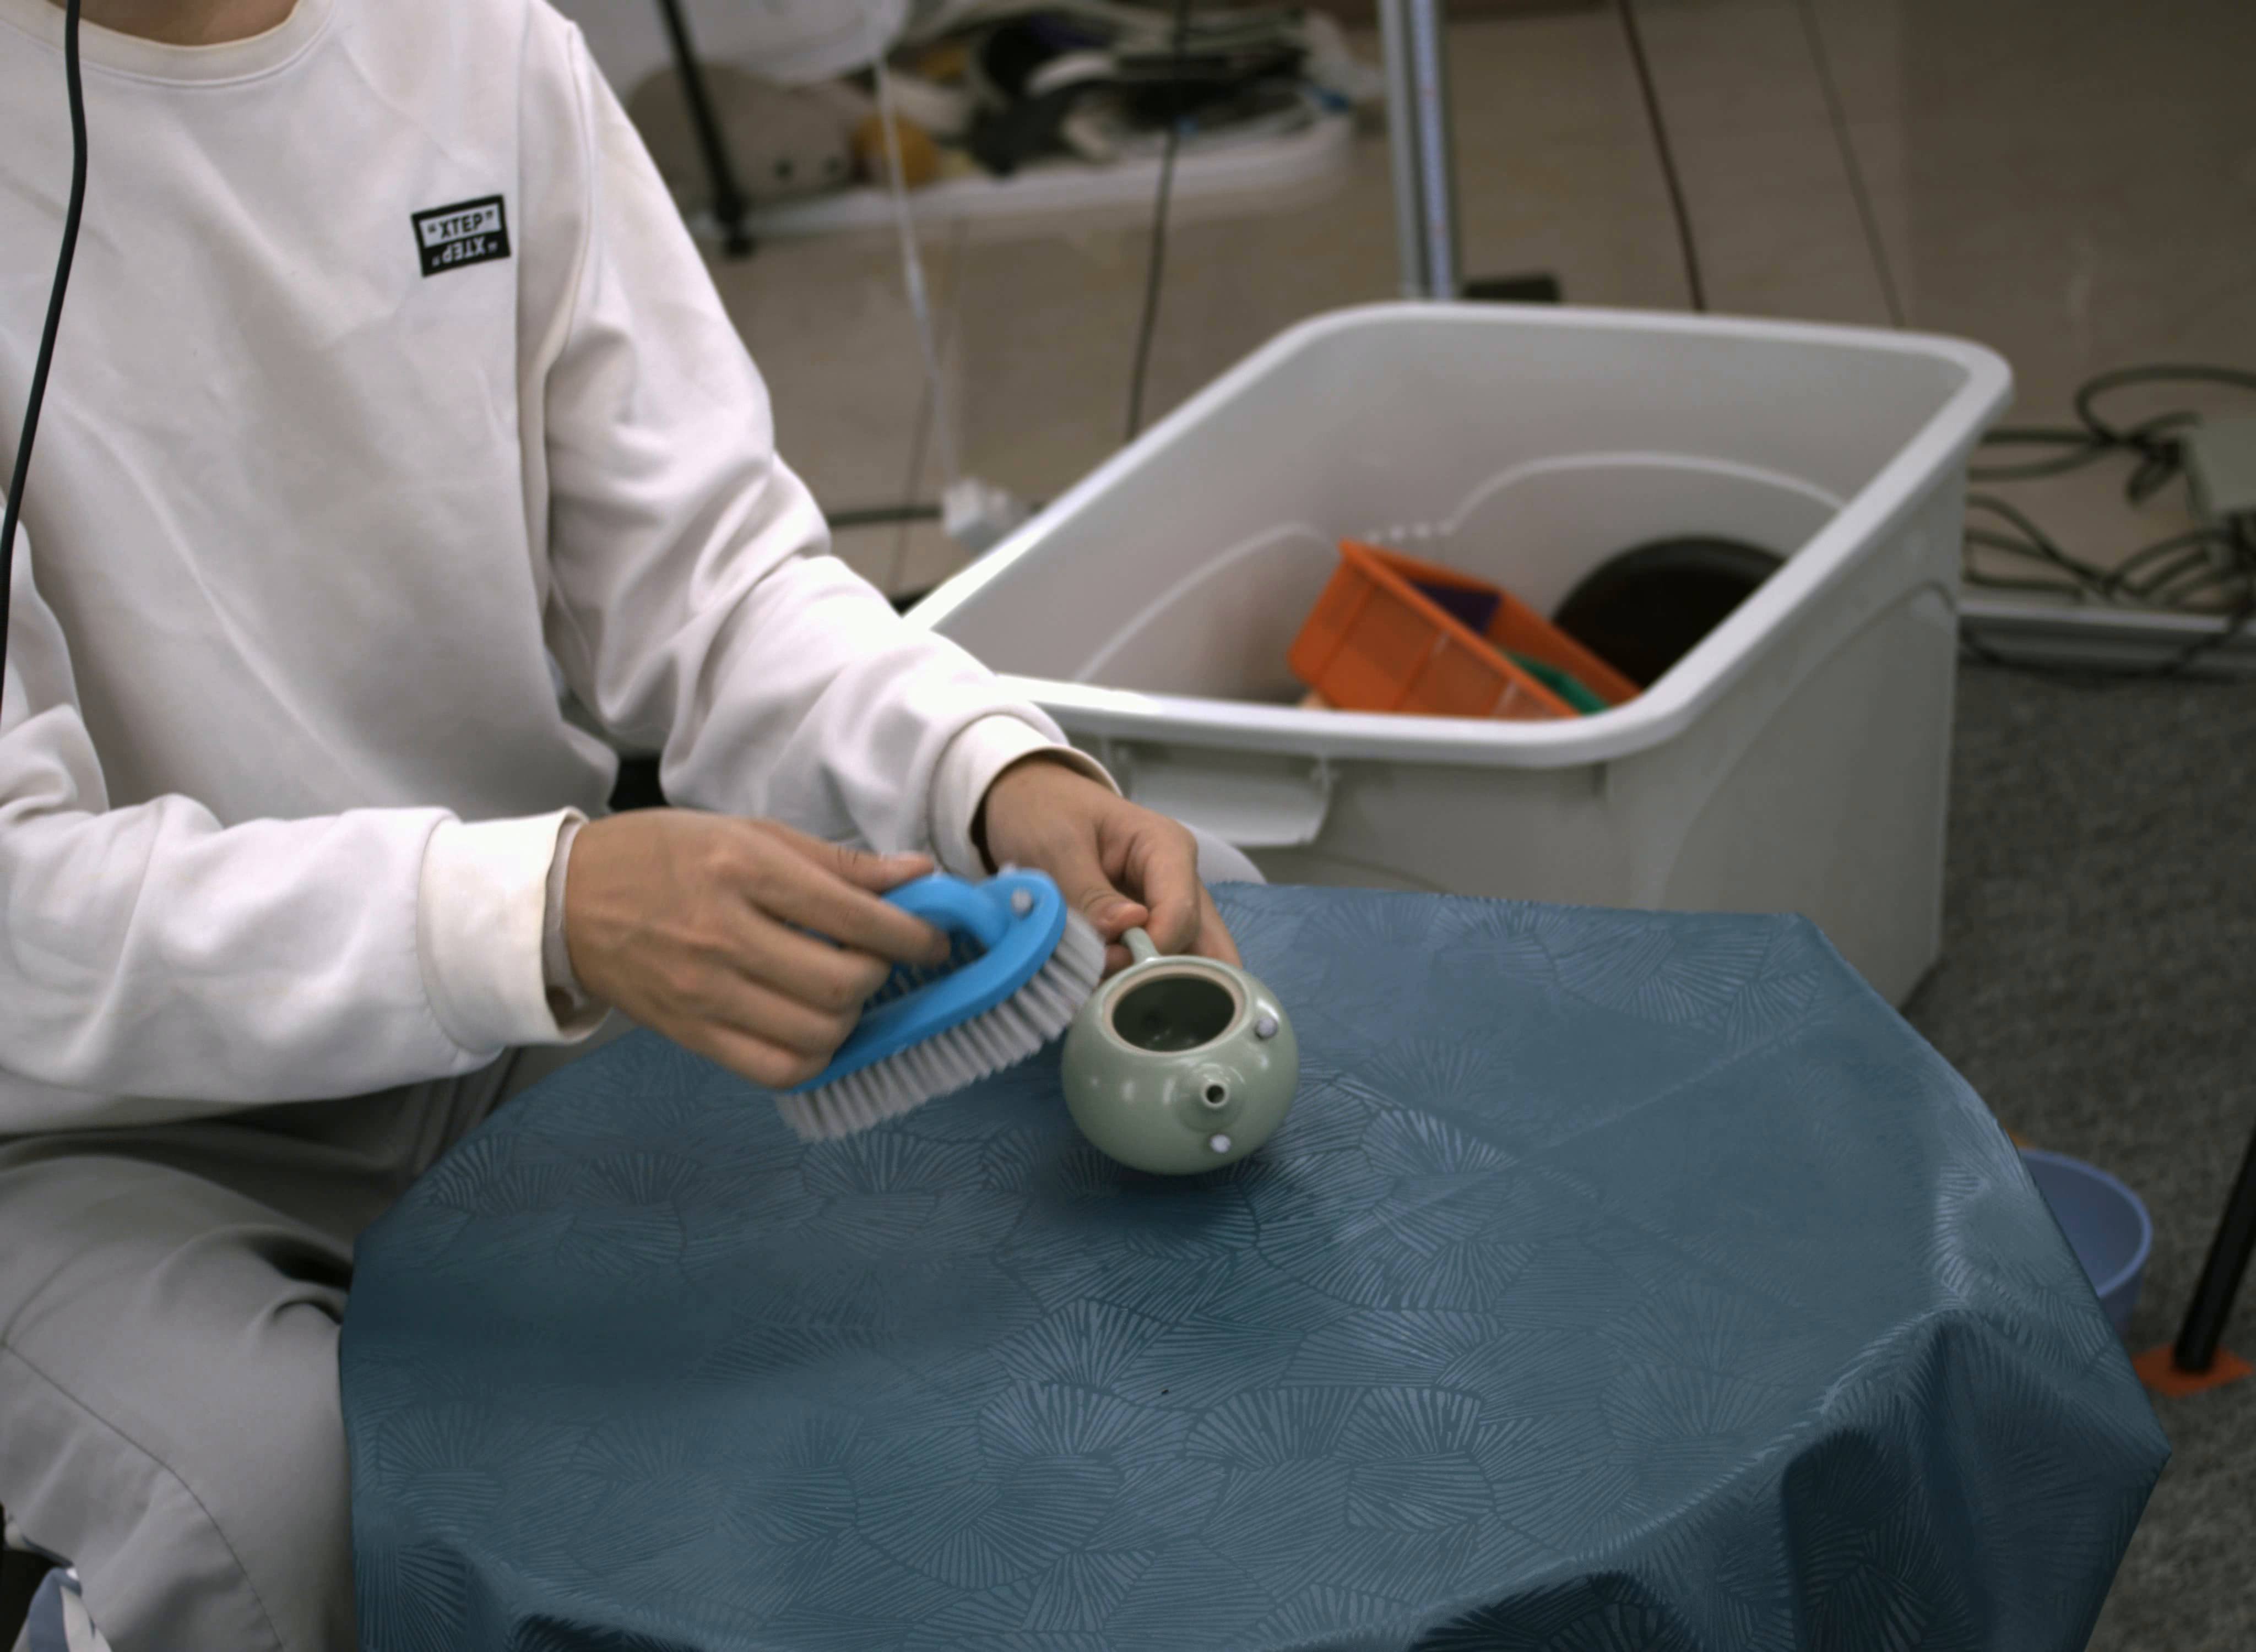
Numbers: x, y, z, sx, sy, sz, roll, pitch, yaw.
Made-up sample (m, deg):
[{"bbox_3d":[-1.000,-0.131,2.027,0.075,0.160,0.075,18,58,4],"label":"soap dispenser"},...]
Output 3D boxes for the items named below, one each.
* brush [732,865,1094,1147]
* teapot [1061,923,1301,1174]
[{"bbox_3d":[-0.086,0.058,2.066,0.142,0.064,0.083,-24,36,23],"label":"brush"},{"bbox_3d":[0.018,0.085,2.160,0.091,0.062,0.126,-14,38,-5],"label":"teapot"}]
